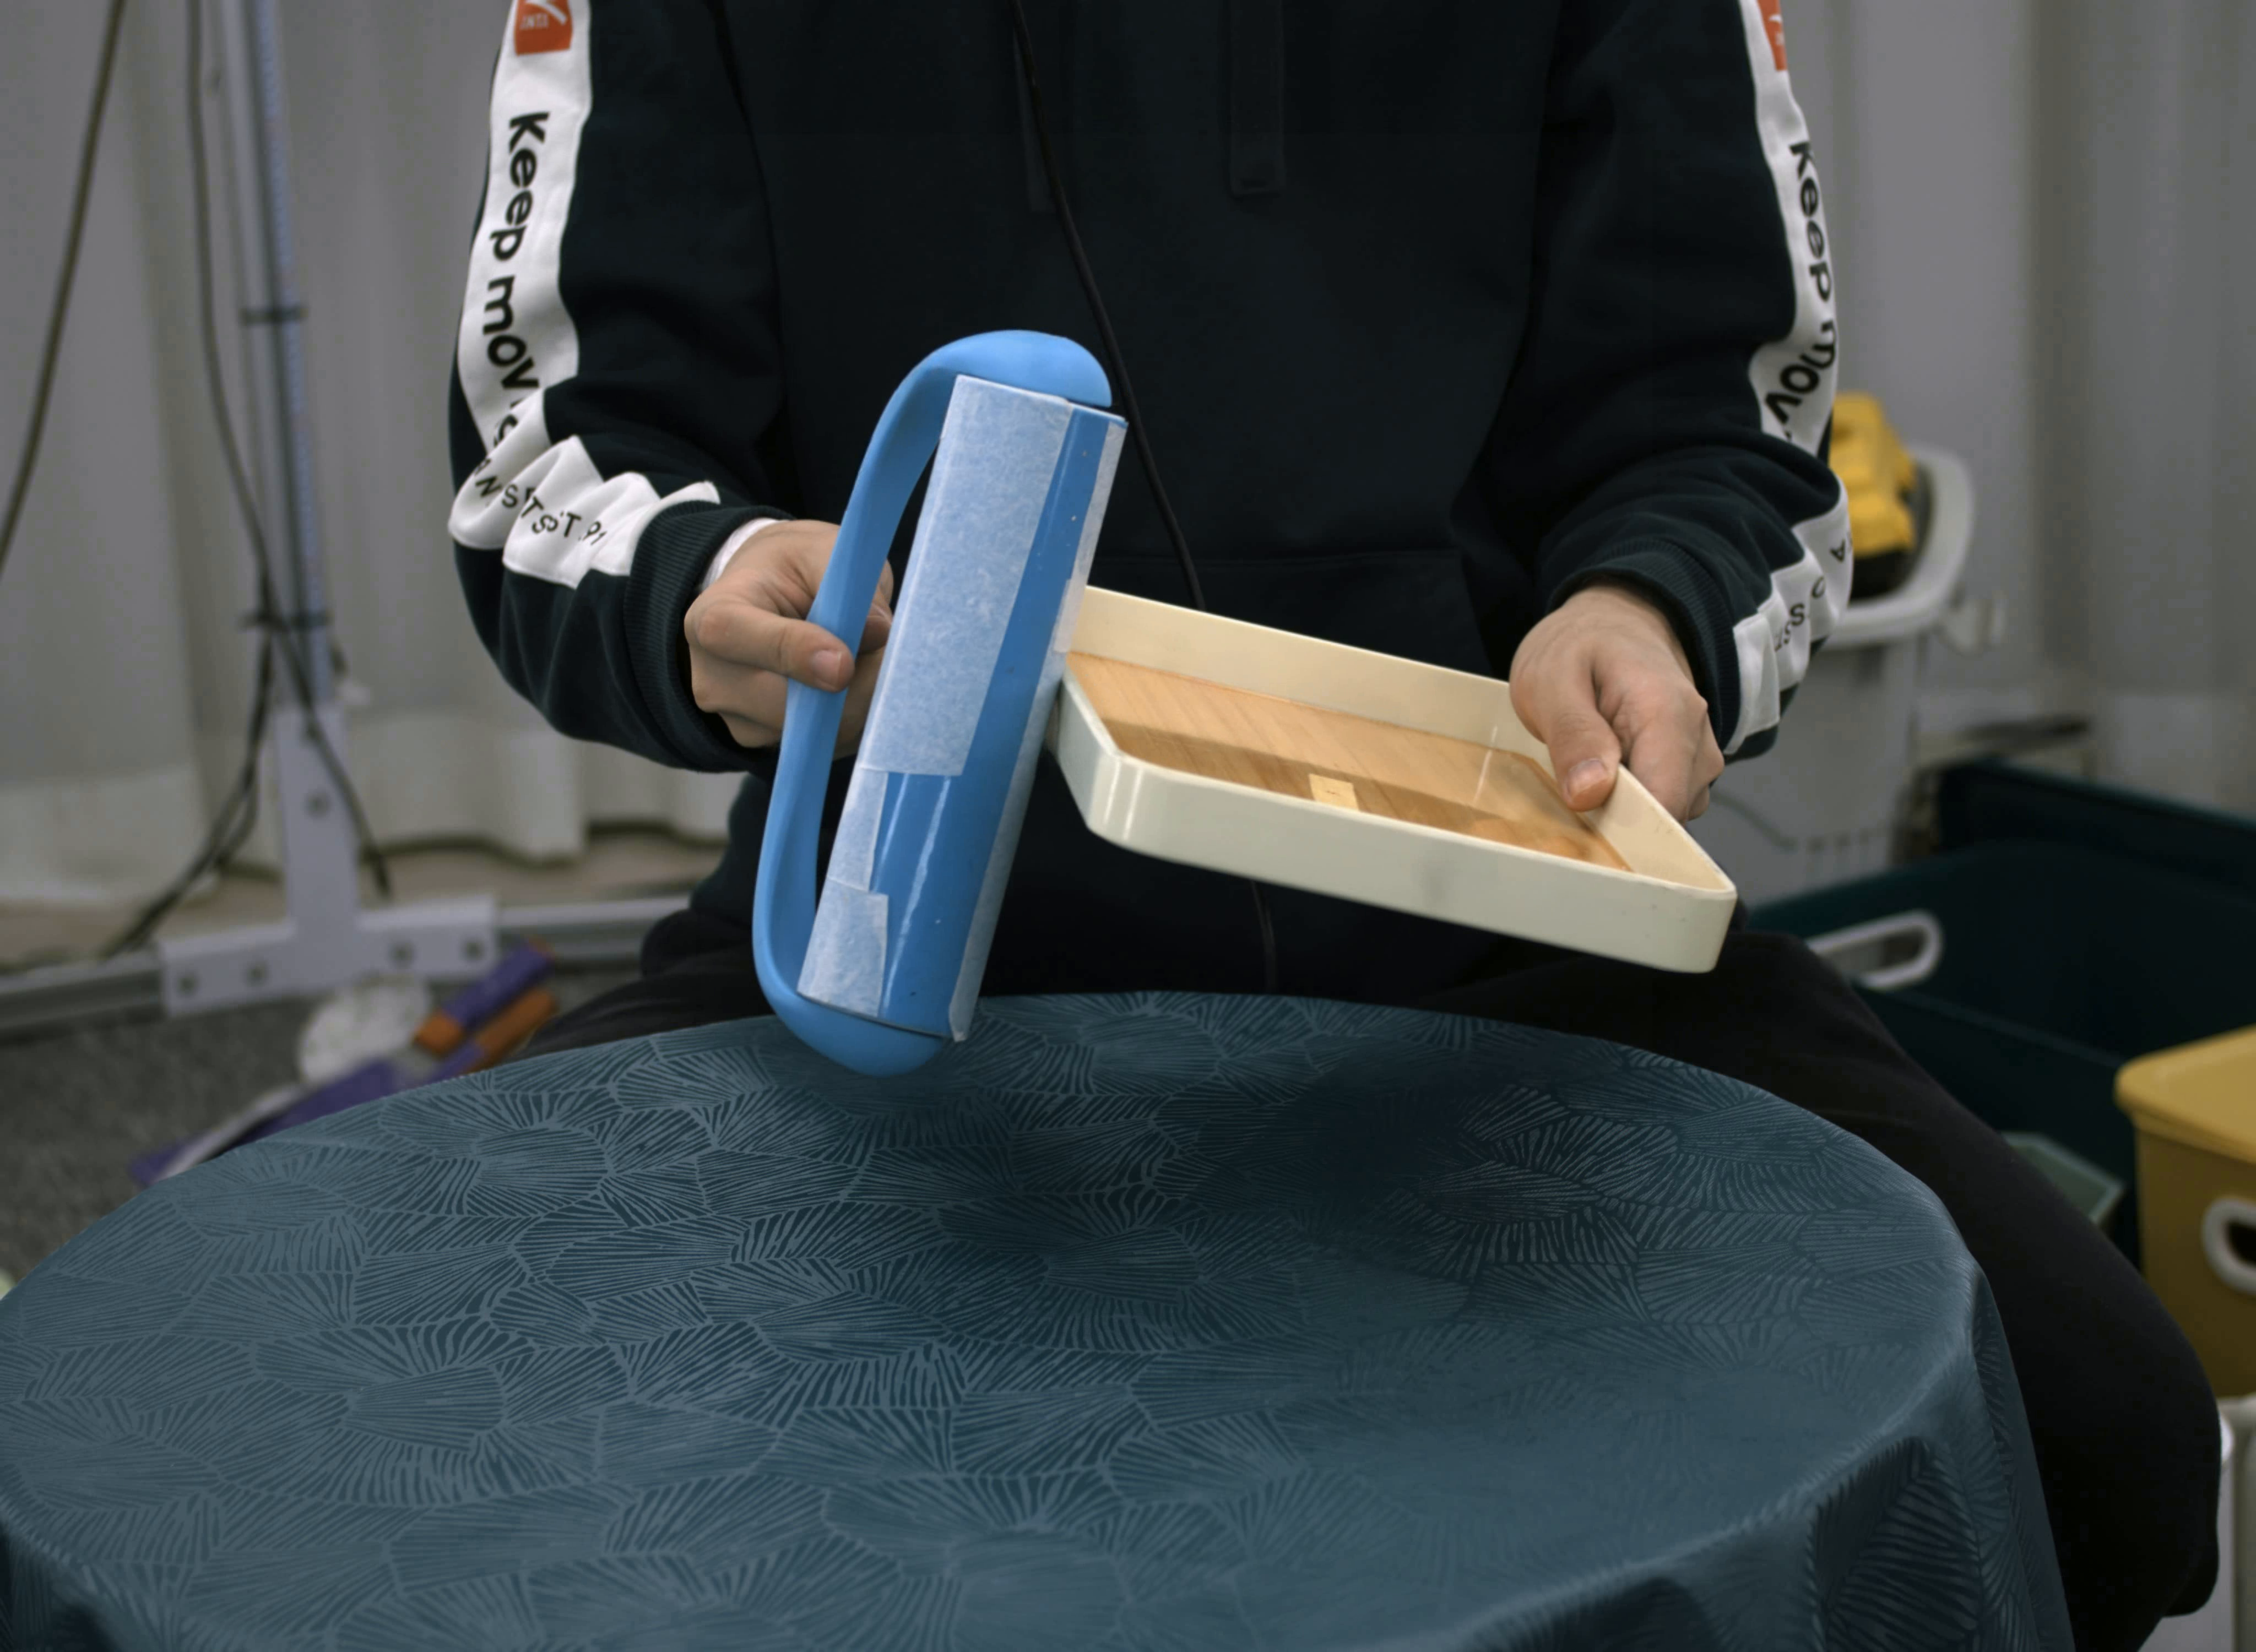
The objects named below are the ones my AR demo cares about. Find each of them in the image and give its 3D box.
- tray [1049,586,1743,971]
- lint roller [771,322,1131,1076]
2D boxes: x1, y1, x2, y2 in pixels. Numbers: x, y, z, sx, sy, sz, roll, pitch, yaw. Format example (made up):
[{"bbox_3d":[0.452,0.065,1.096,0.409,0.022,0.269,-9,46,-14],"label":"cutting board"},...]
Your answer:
[{"bbox_3d":[0.067,-0.019,1.685,0.190,0.027,0.302,13,11,-9],"label":"tray"},{"bbox_3d":[-0.070,-0.042,1.694,0.067,0.230,0.181,12,-1,-23],"label":"lint roller"}]
